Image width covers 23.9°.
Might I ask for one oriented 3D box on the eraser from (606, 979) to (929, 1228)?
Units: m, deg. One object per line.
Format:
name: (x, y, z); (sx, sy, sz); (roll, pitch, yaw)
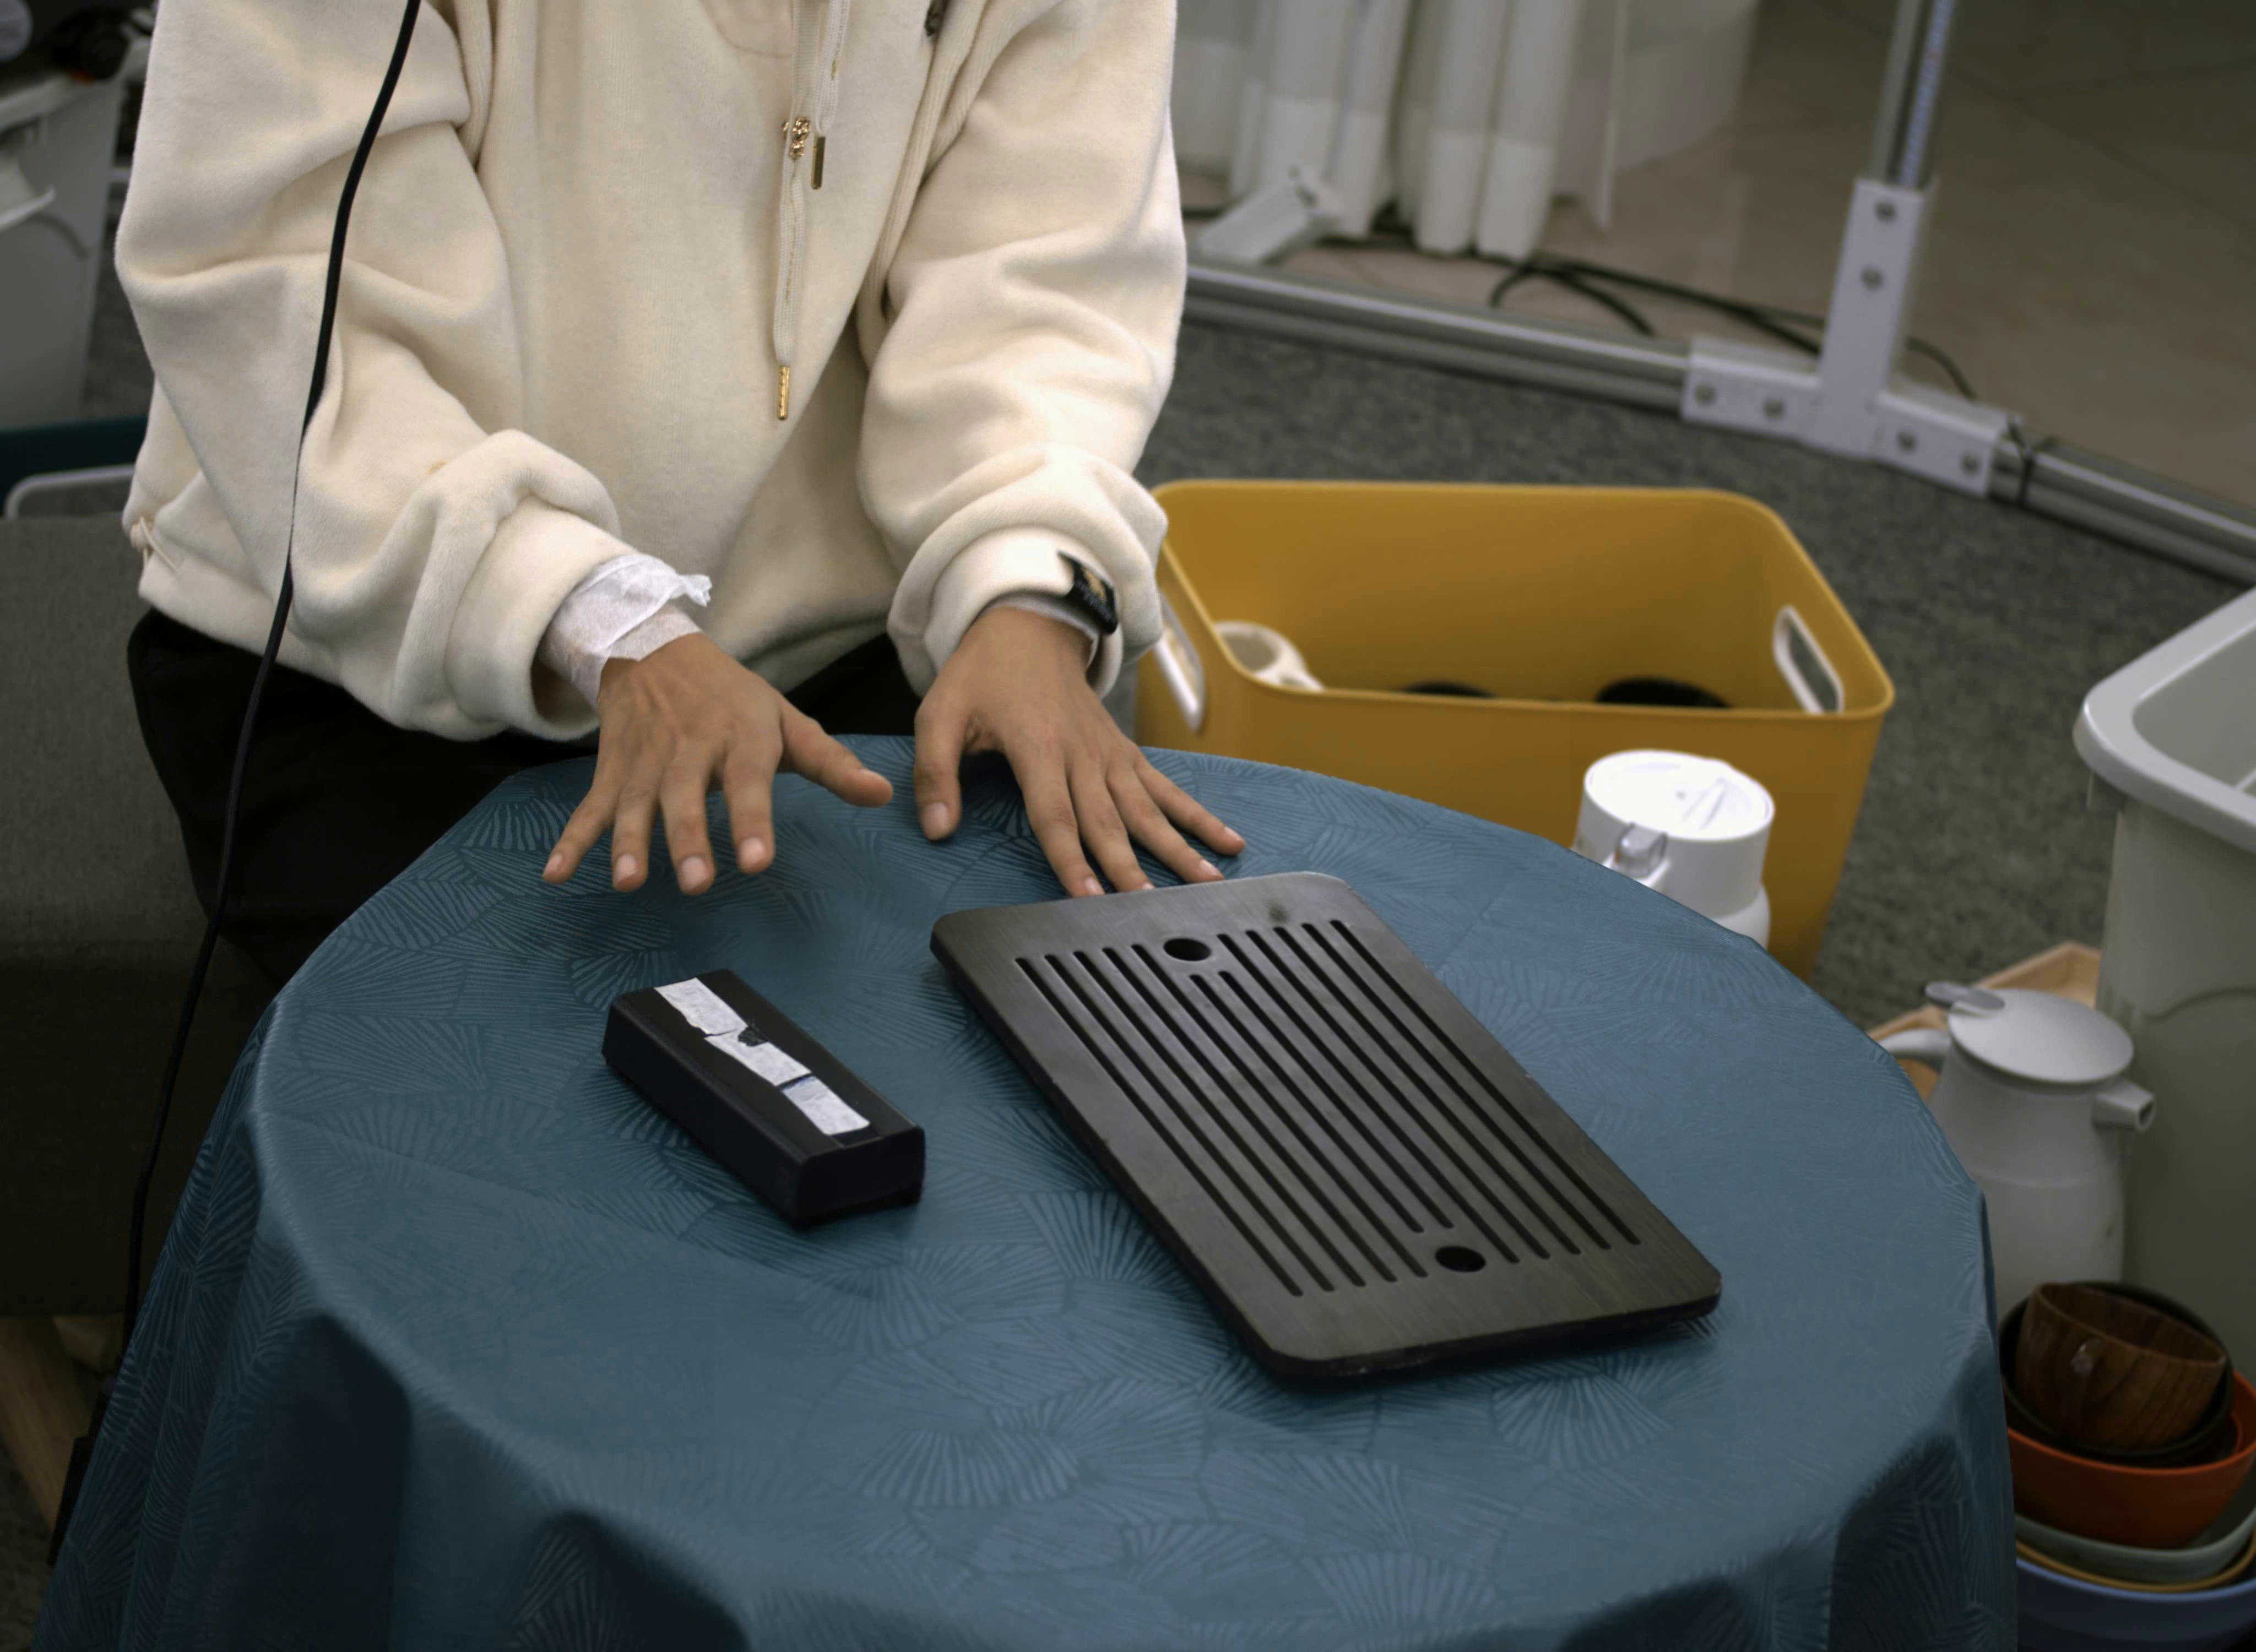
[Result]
eraser: (-0.123, 0.093, 1.804); (0.053, 0.030, 0.126); (-10, 30, -36)

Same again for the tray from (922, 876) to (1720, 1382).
tray: (0.060, 0.101, 1.840); (0.169, 0.018, 0.309); (-6, 30, -24)
